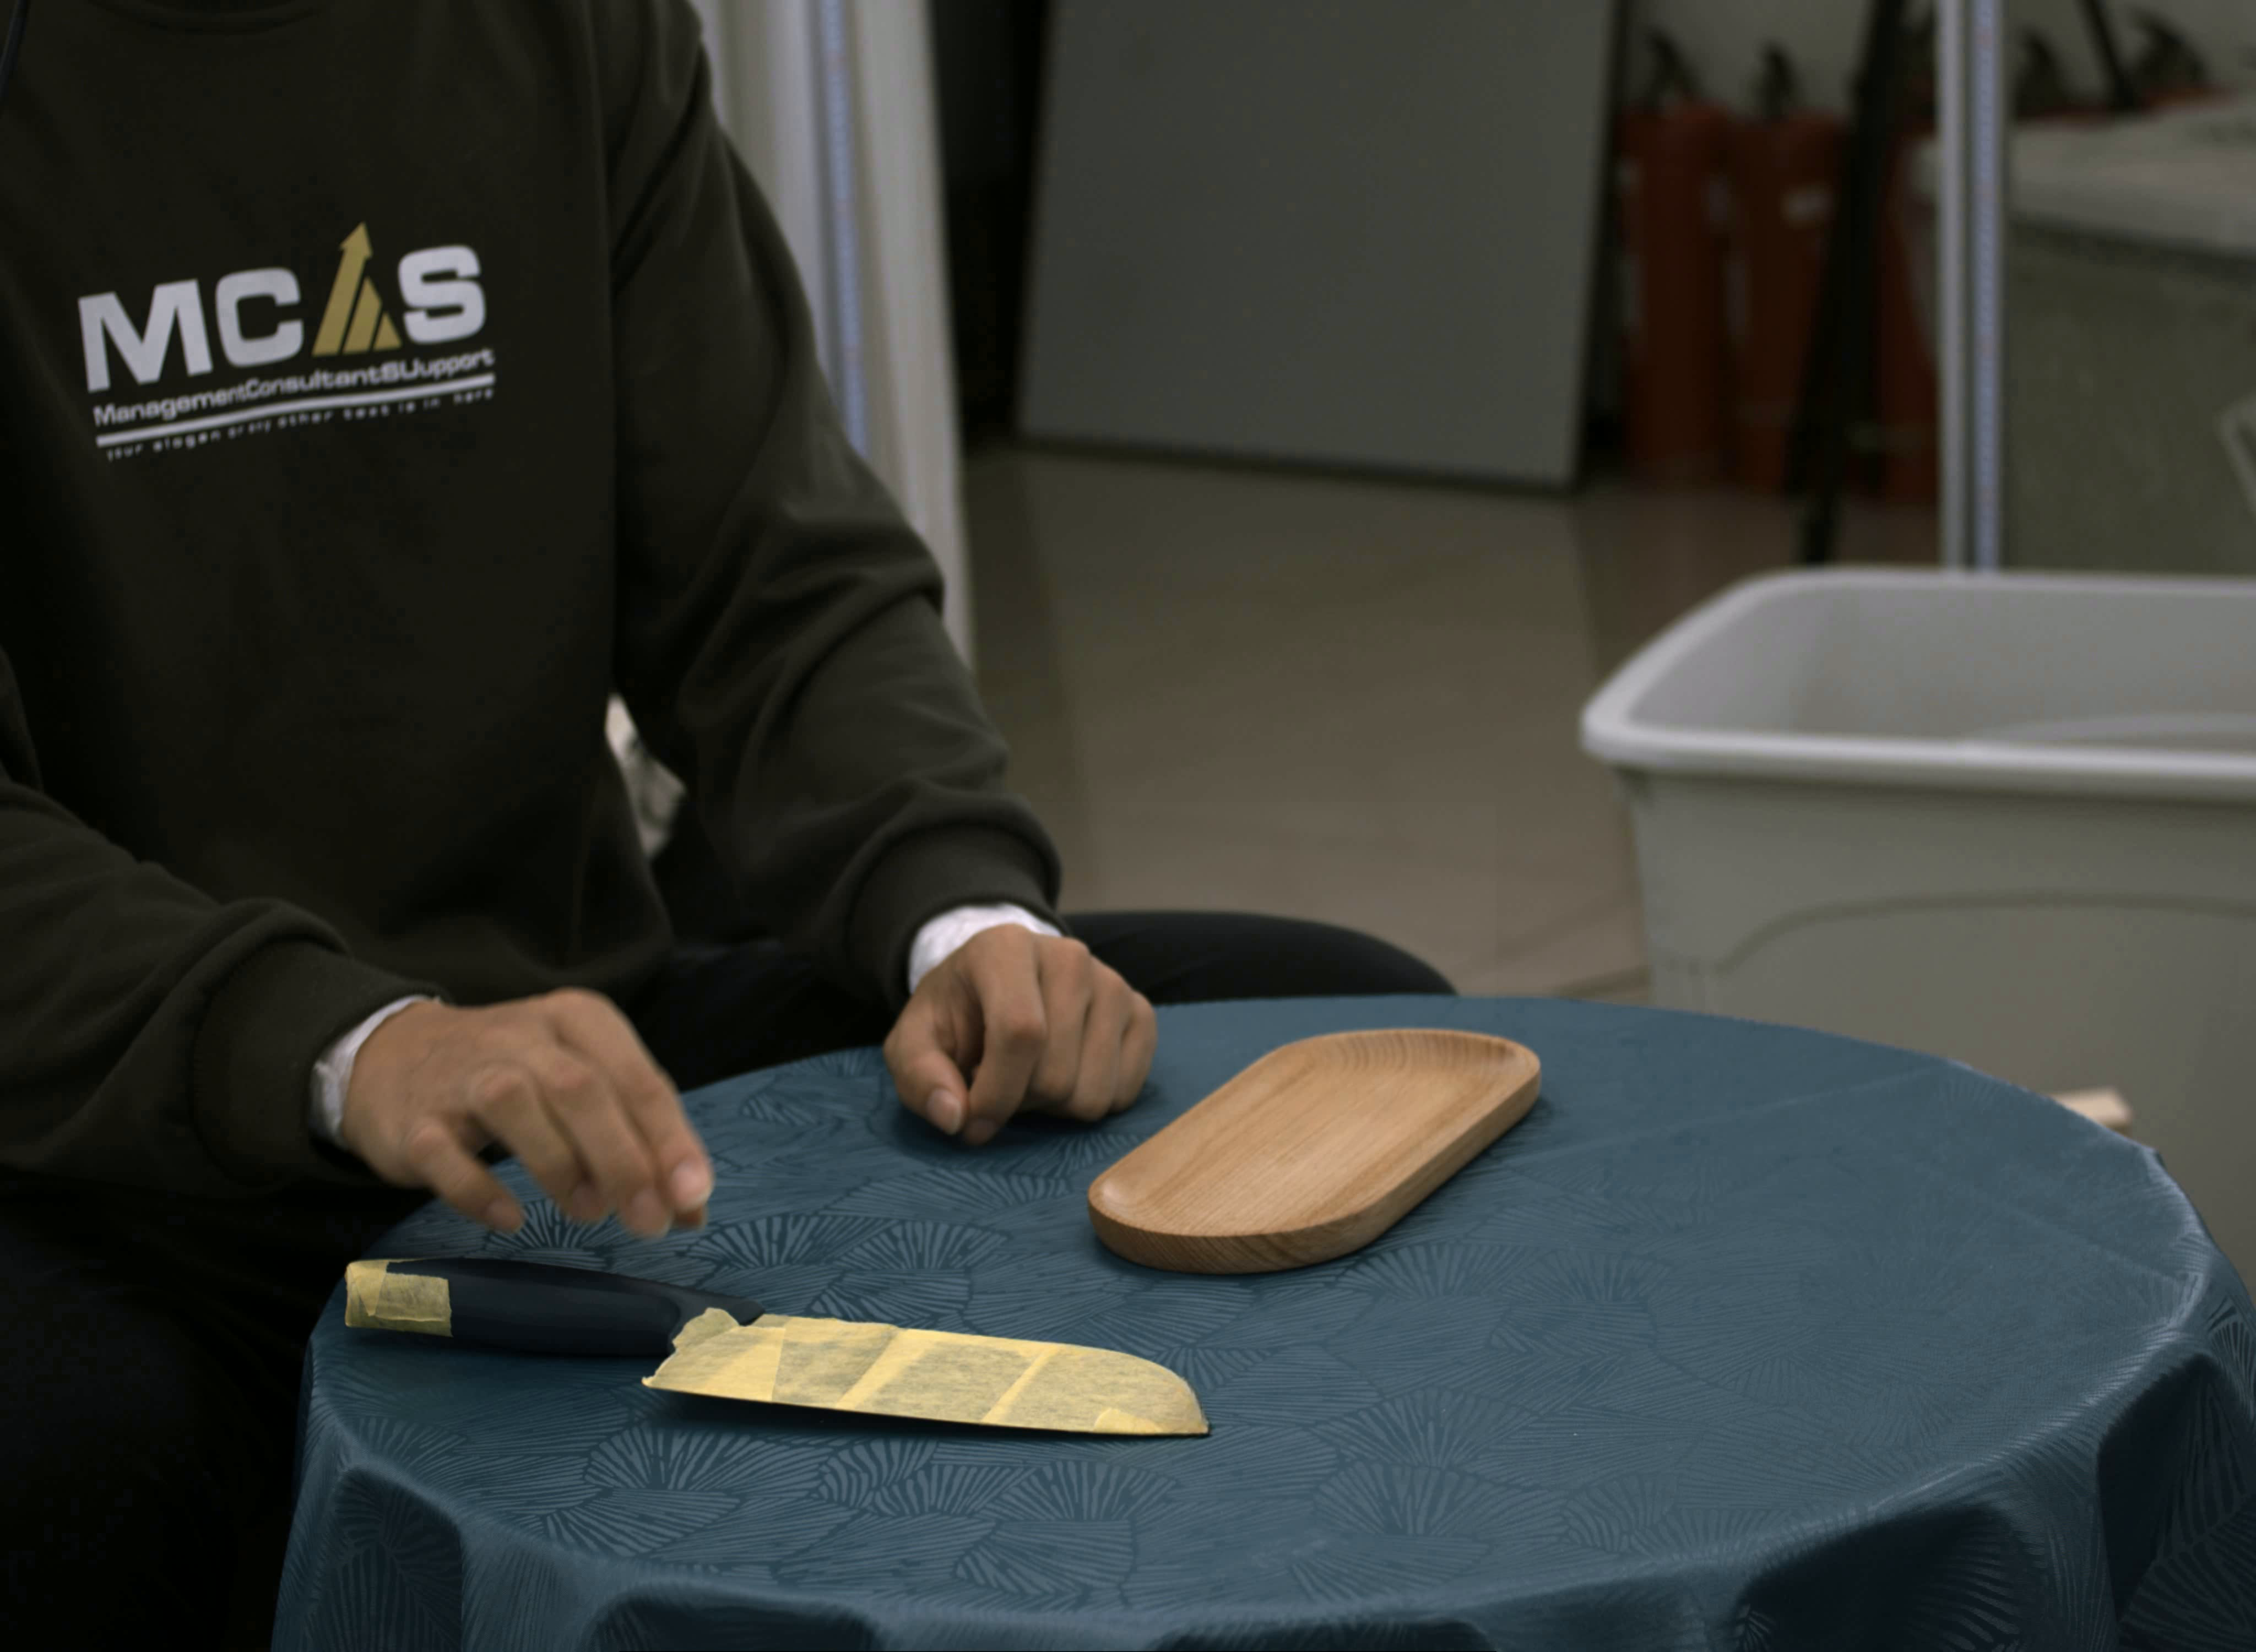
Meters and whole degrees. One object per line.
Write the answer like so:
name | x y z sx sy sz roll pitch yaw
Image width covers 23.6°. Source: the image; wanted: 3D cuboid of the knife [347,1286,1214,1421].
knife | -0.109 0.161 1.612 0.289 0.027 0.080 2 11 21

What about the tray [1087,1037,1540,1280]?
tray | 0.064 0.108 1.778 0.102 0.020 0.228 1 15 25
